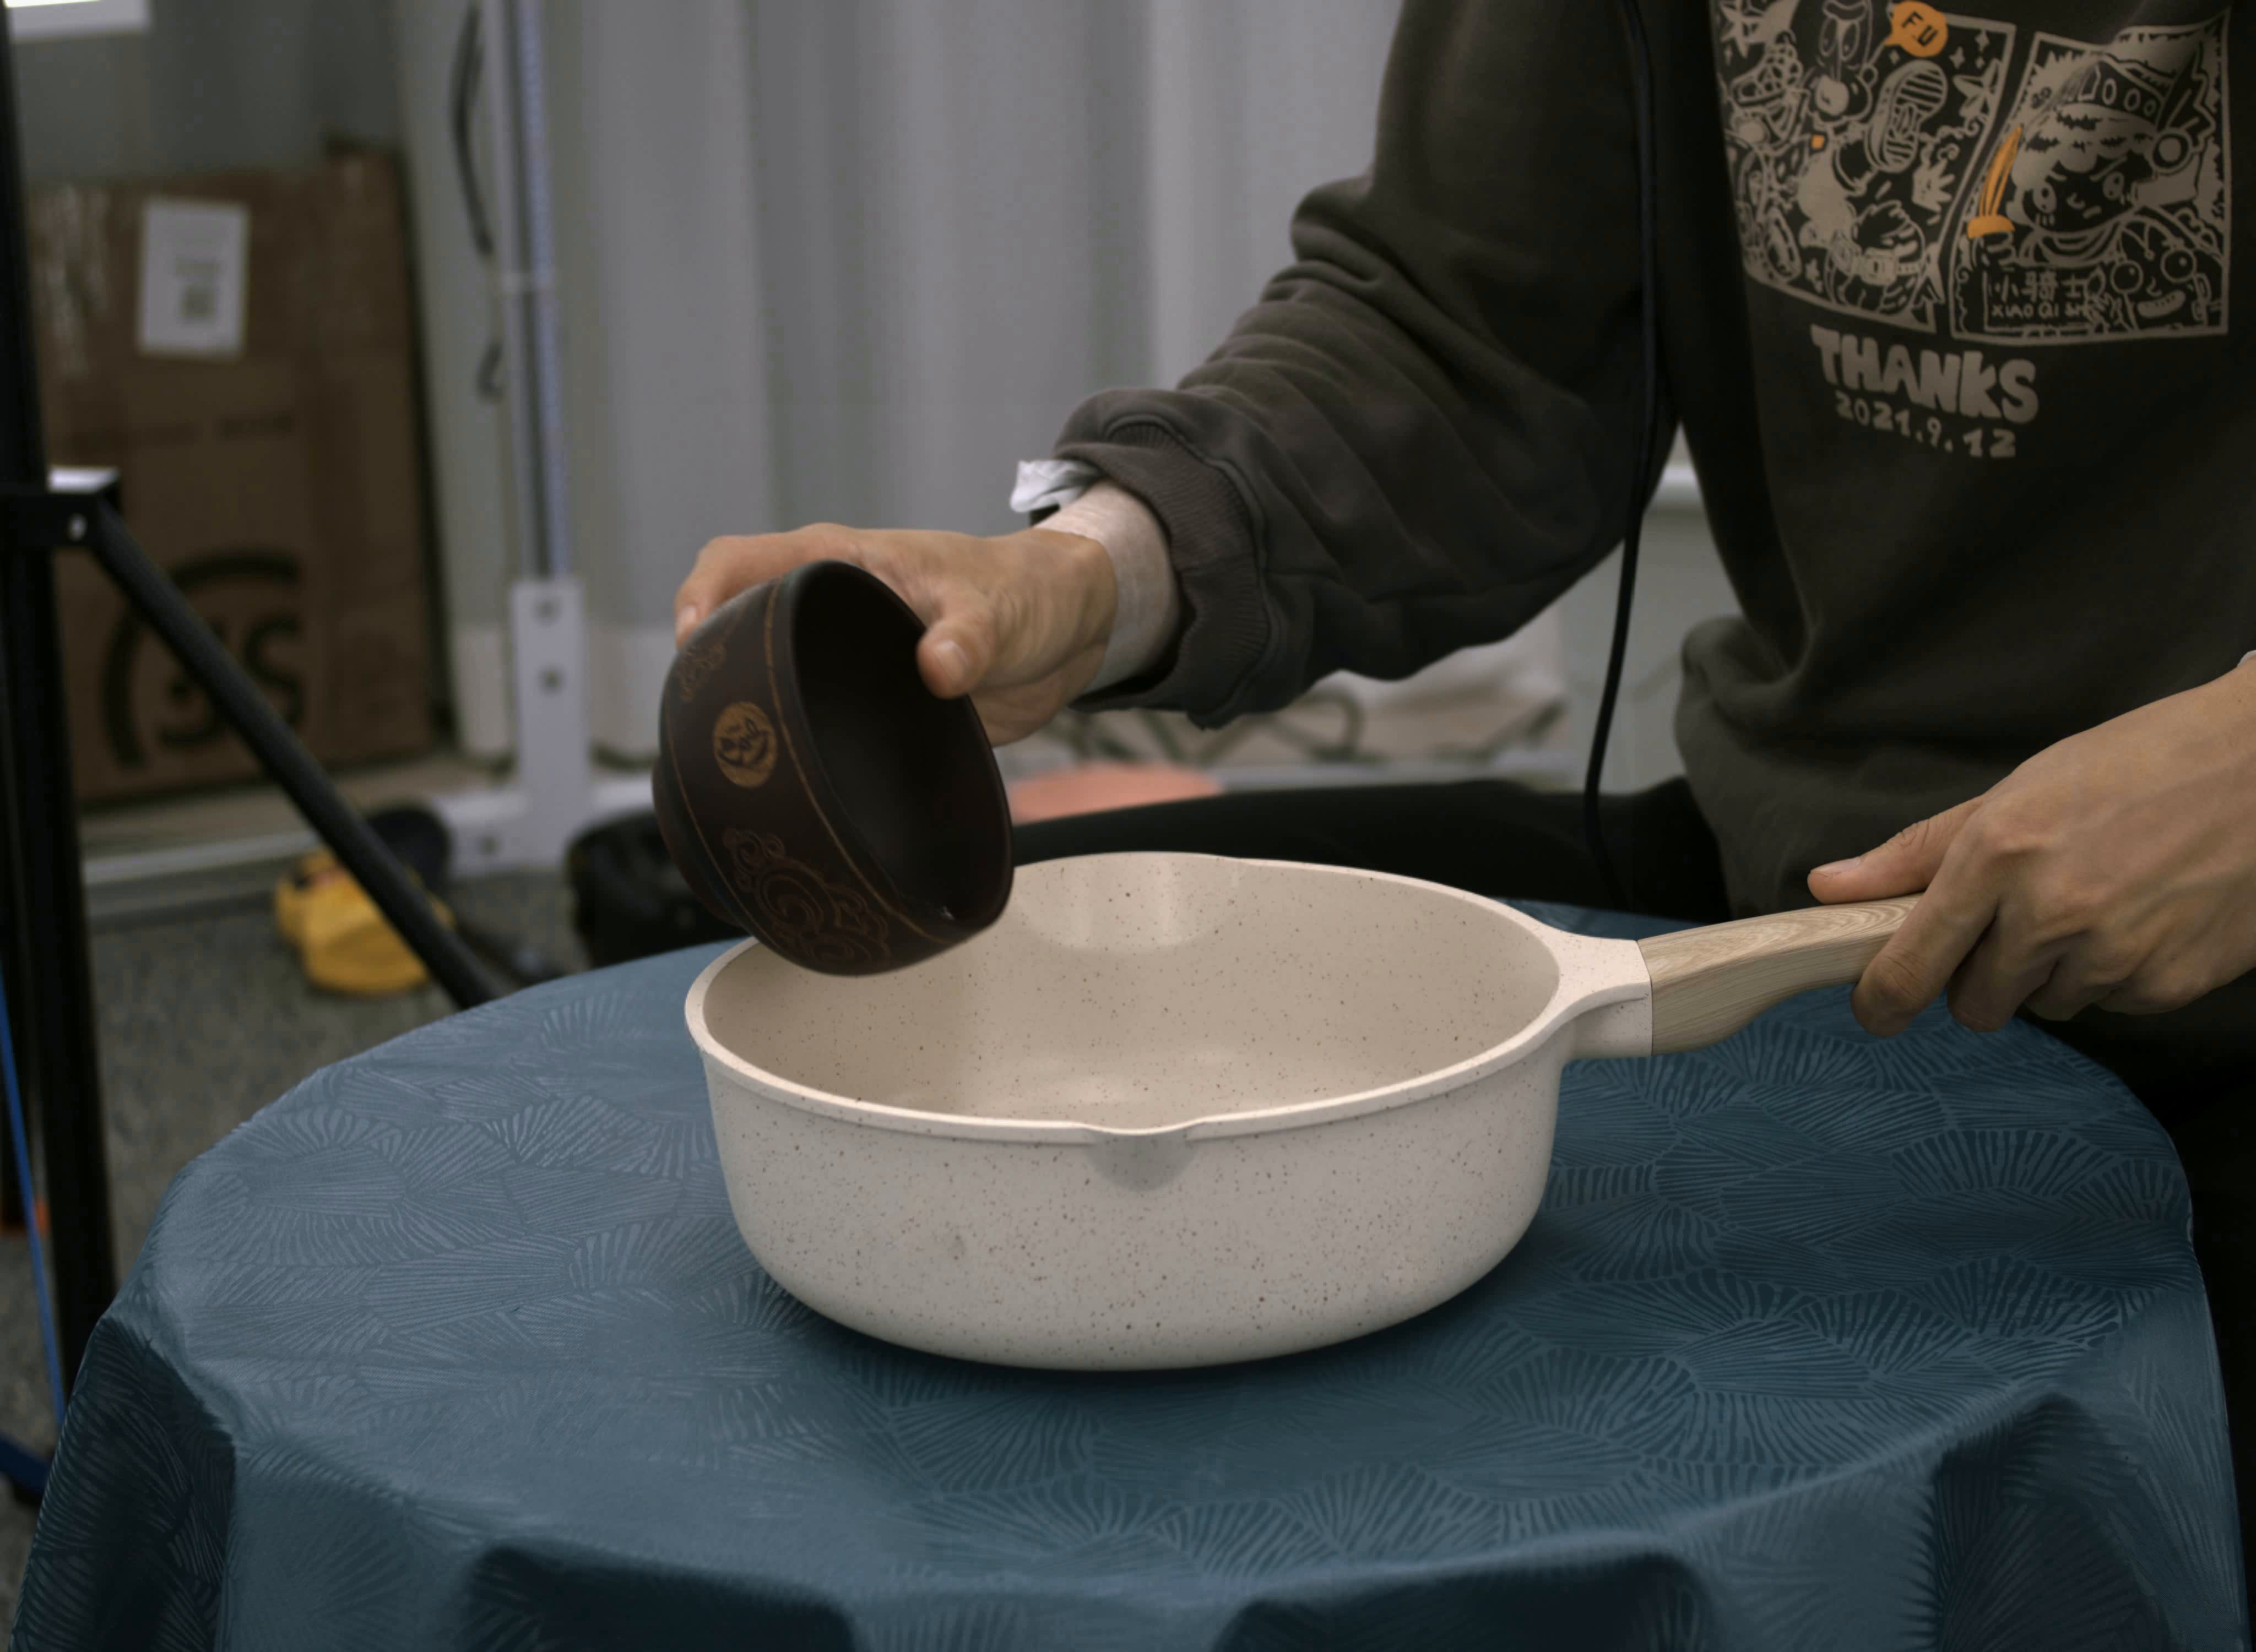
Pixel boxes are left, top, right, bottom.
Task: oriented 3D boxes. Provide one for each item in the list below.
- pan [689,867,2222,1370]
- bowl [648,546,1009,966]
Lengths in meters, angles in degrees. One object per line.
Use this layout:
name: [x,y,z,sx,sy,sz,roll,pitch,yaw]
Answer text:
pan: [0.094,0.073,1.492,0.433,0.102,0.264,-2,14,0]
bowl: [-0.093,-0.014,1.524,0.070,0.118,0.117,-26,7,21]
